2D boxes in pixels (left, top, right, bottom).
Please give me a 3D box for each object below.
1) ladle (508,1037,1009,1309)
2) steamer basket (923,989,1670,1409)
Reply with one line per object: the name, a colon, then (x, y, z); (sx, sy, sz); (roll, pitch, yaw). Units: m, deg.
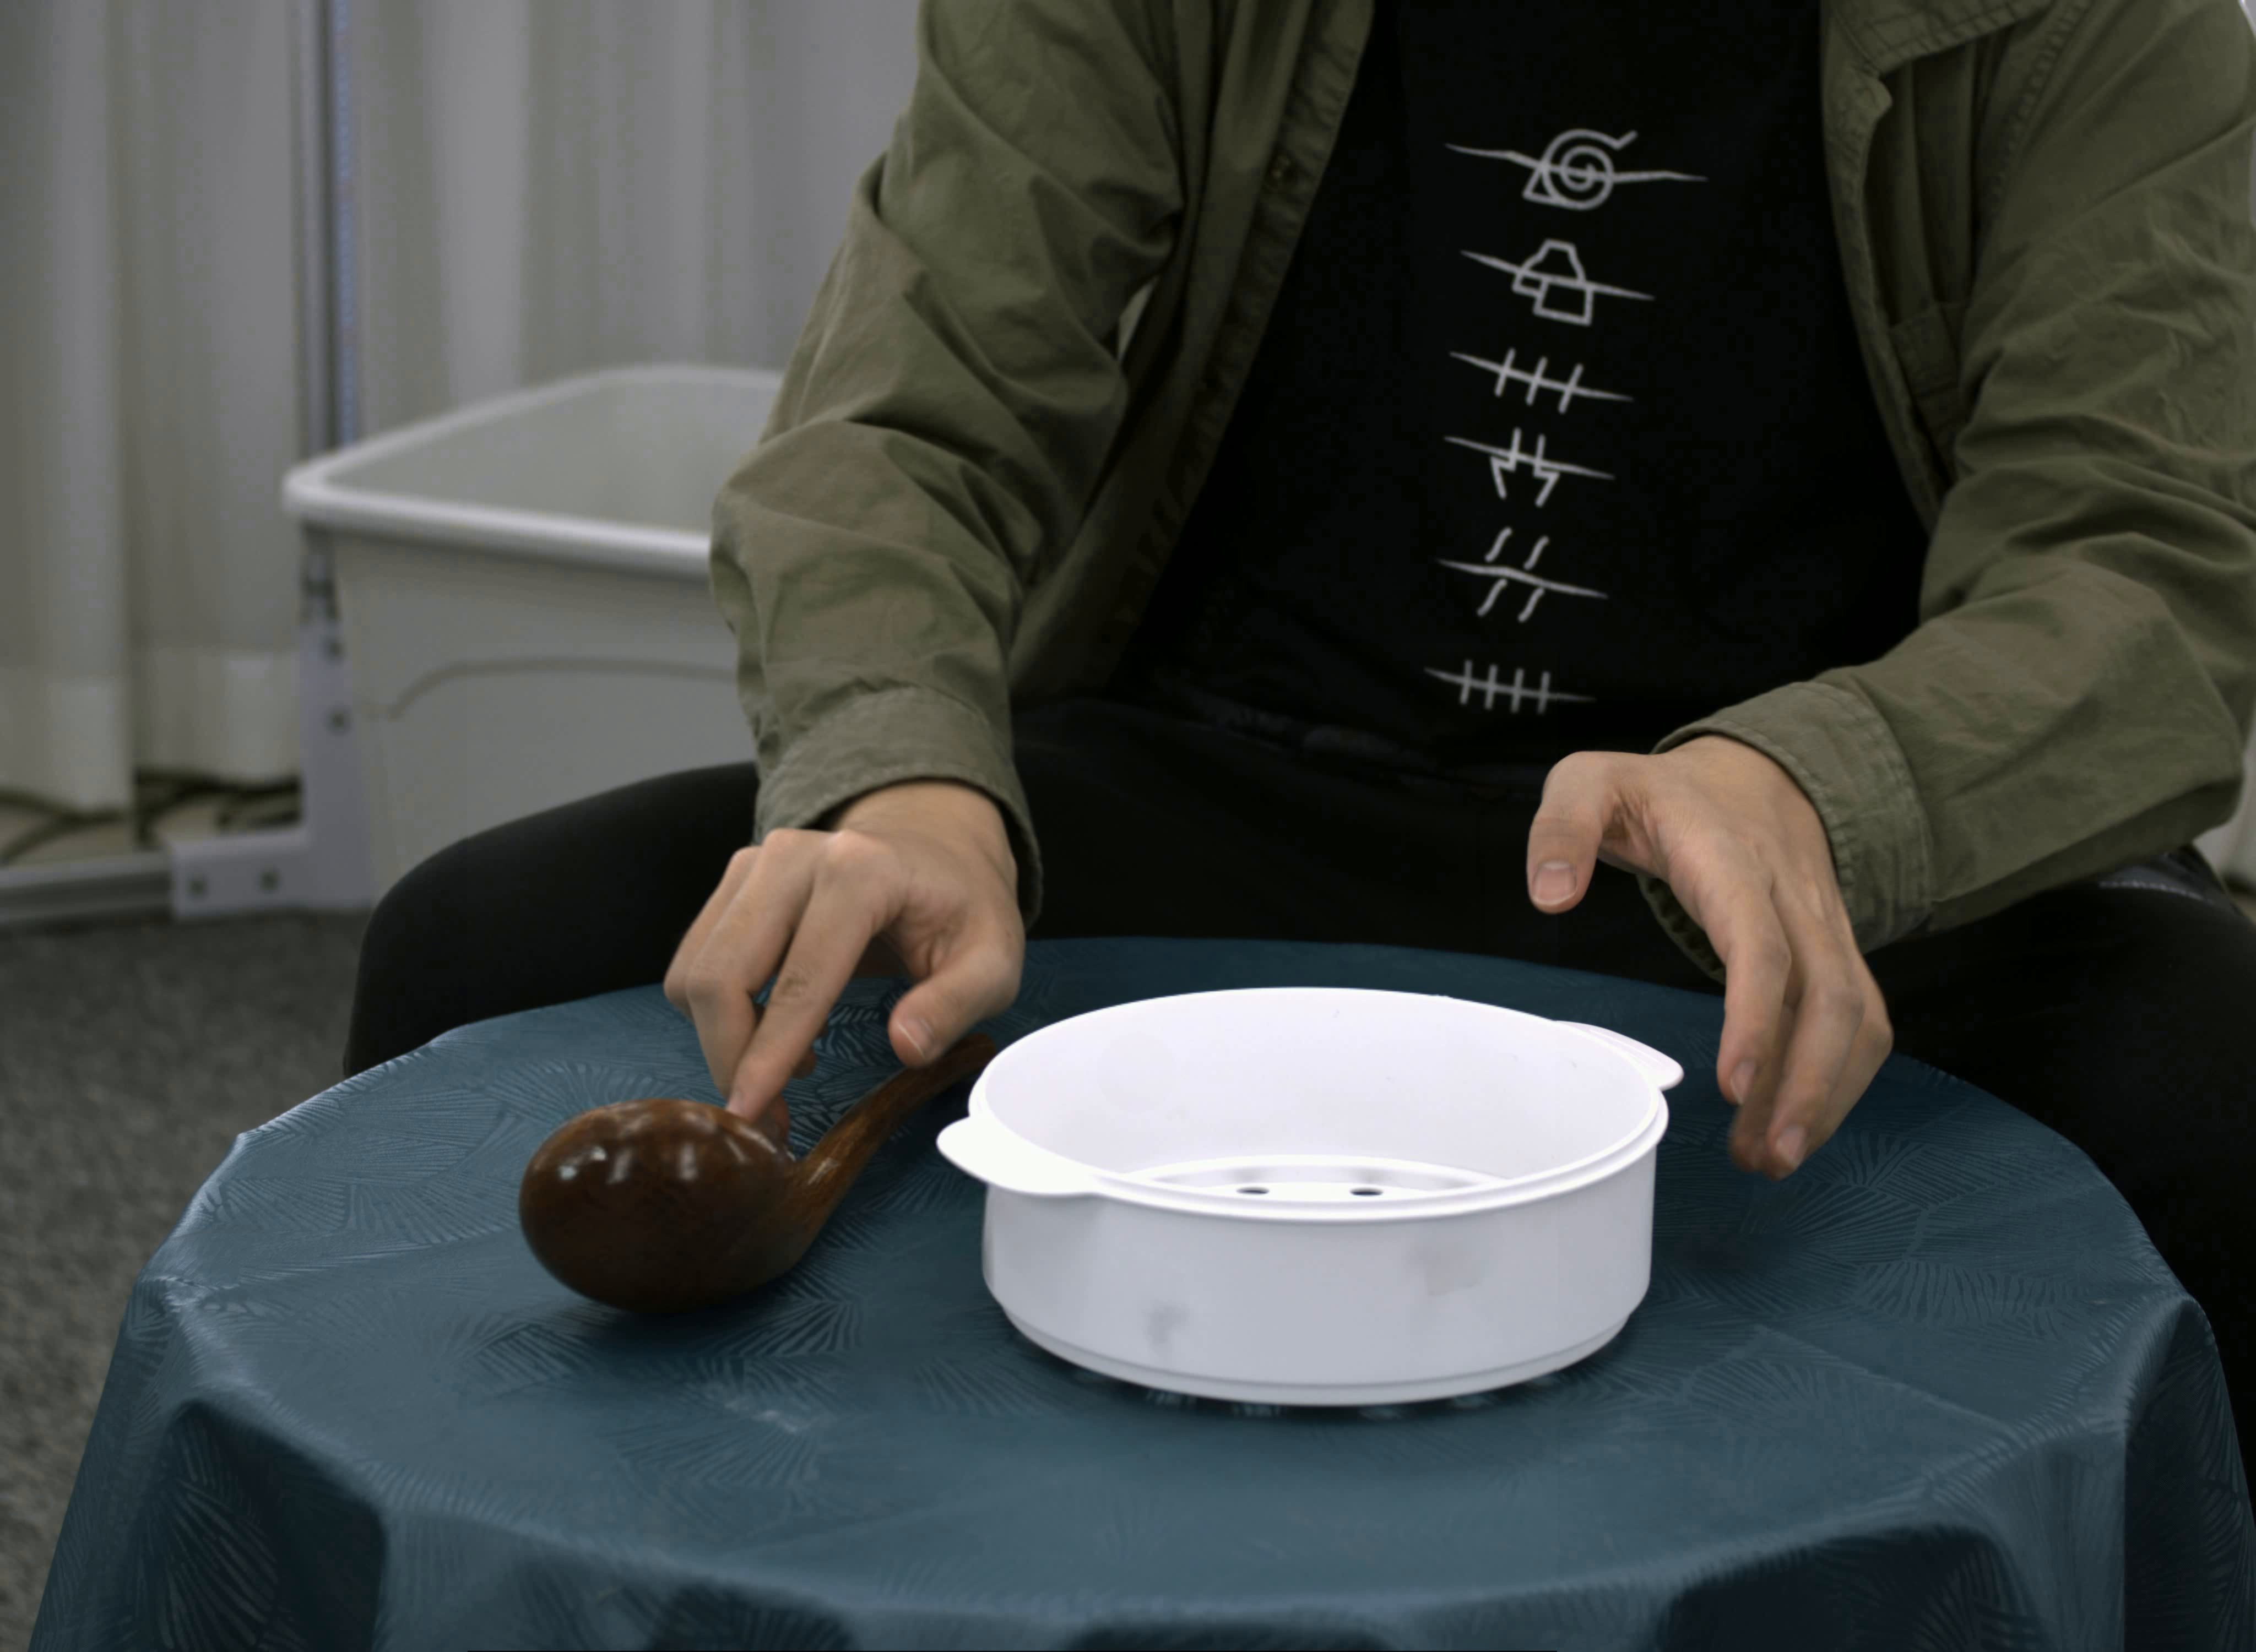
ladle: (-0.104, 0.083, 1.602); (0.081, 0.077, 0.274); (-22, 7, 22)
steamer basket: (0.050, 0.108, 1.522); (0.231, 0.070, 0.199); (-7, 17, -28)
